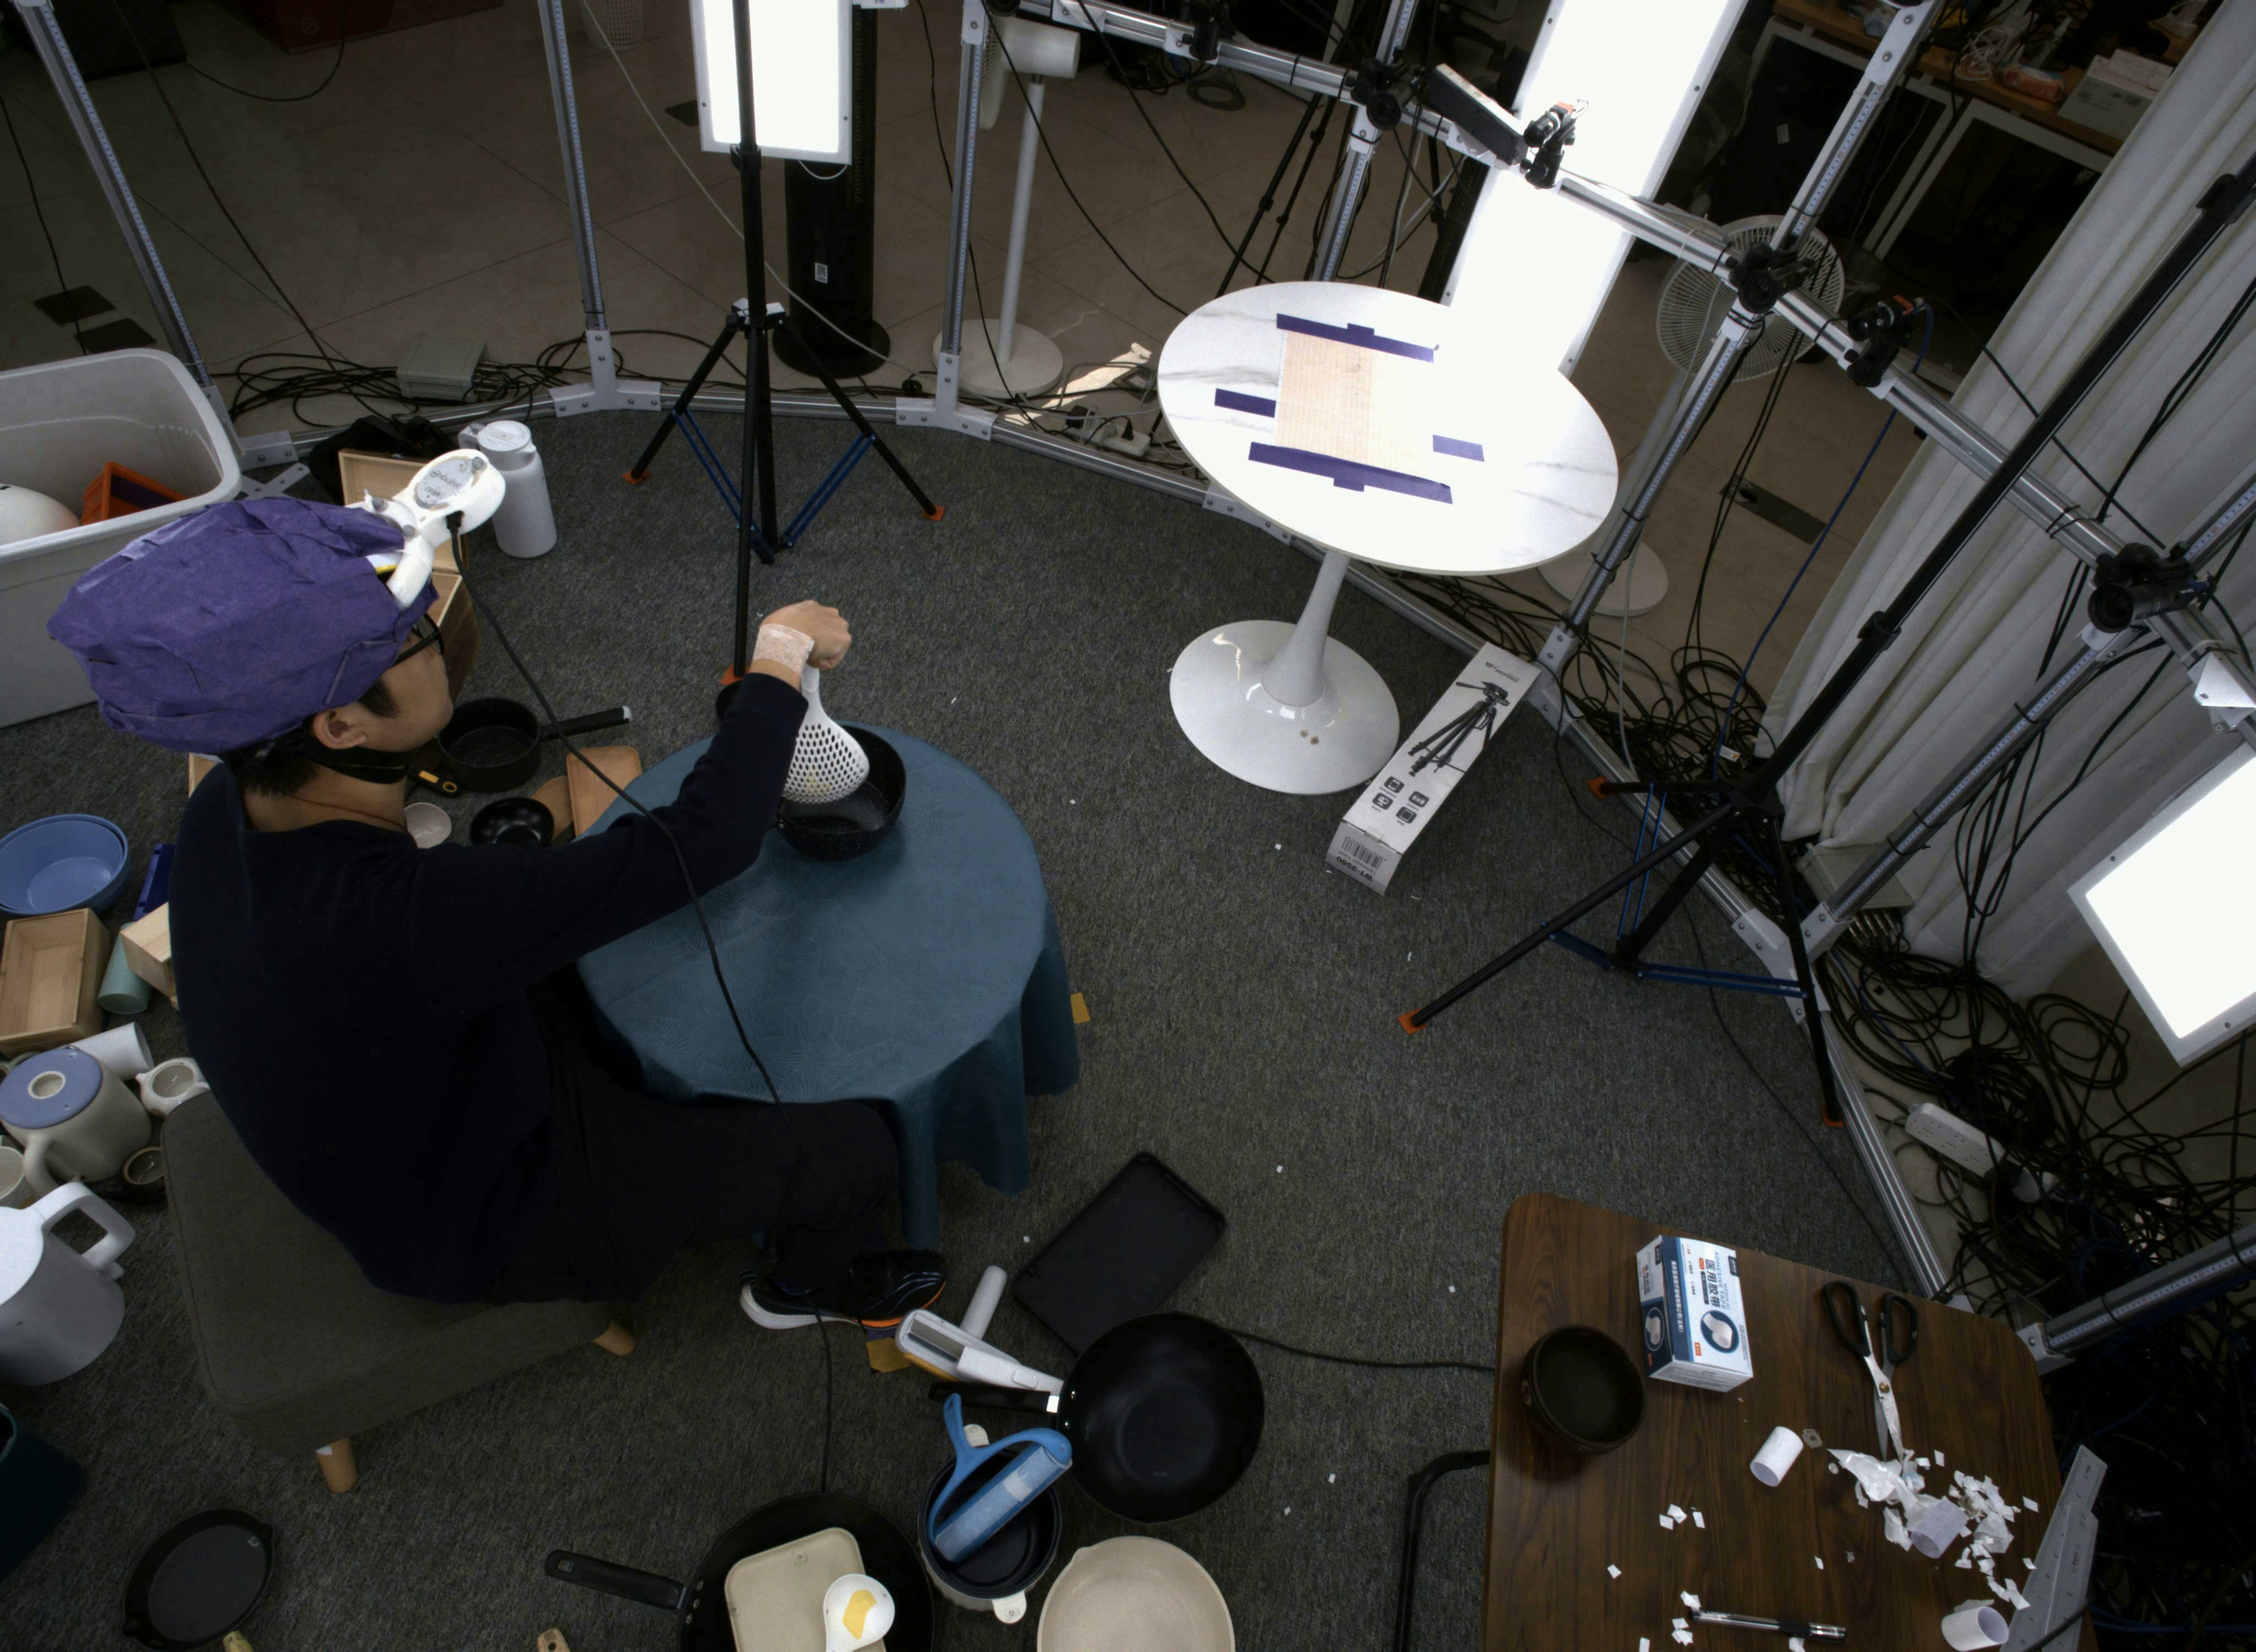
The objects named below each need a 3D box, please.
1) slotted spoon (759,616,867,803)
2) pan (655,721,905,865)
[{"bbox_3d":[-0.383,-0.134,1.567,0.137,0.356,0.049,-5,52,-16],"label":"slotted spoon"},{"bbox_3d":[-0.441,-0.010,1.647,0.344,0.110,0.203,-33,68,-34],"label":"pan"}]
